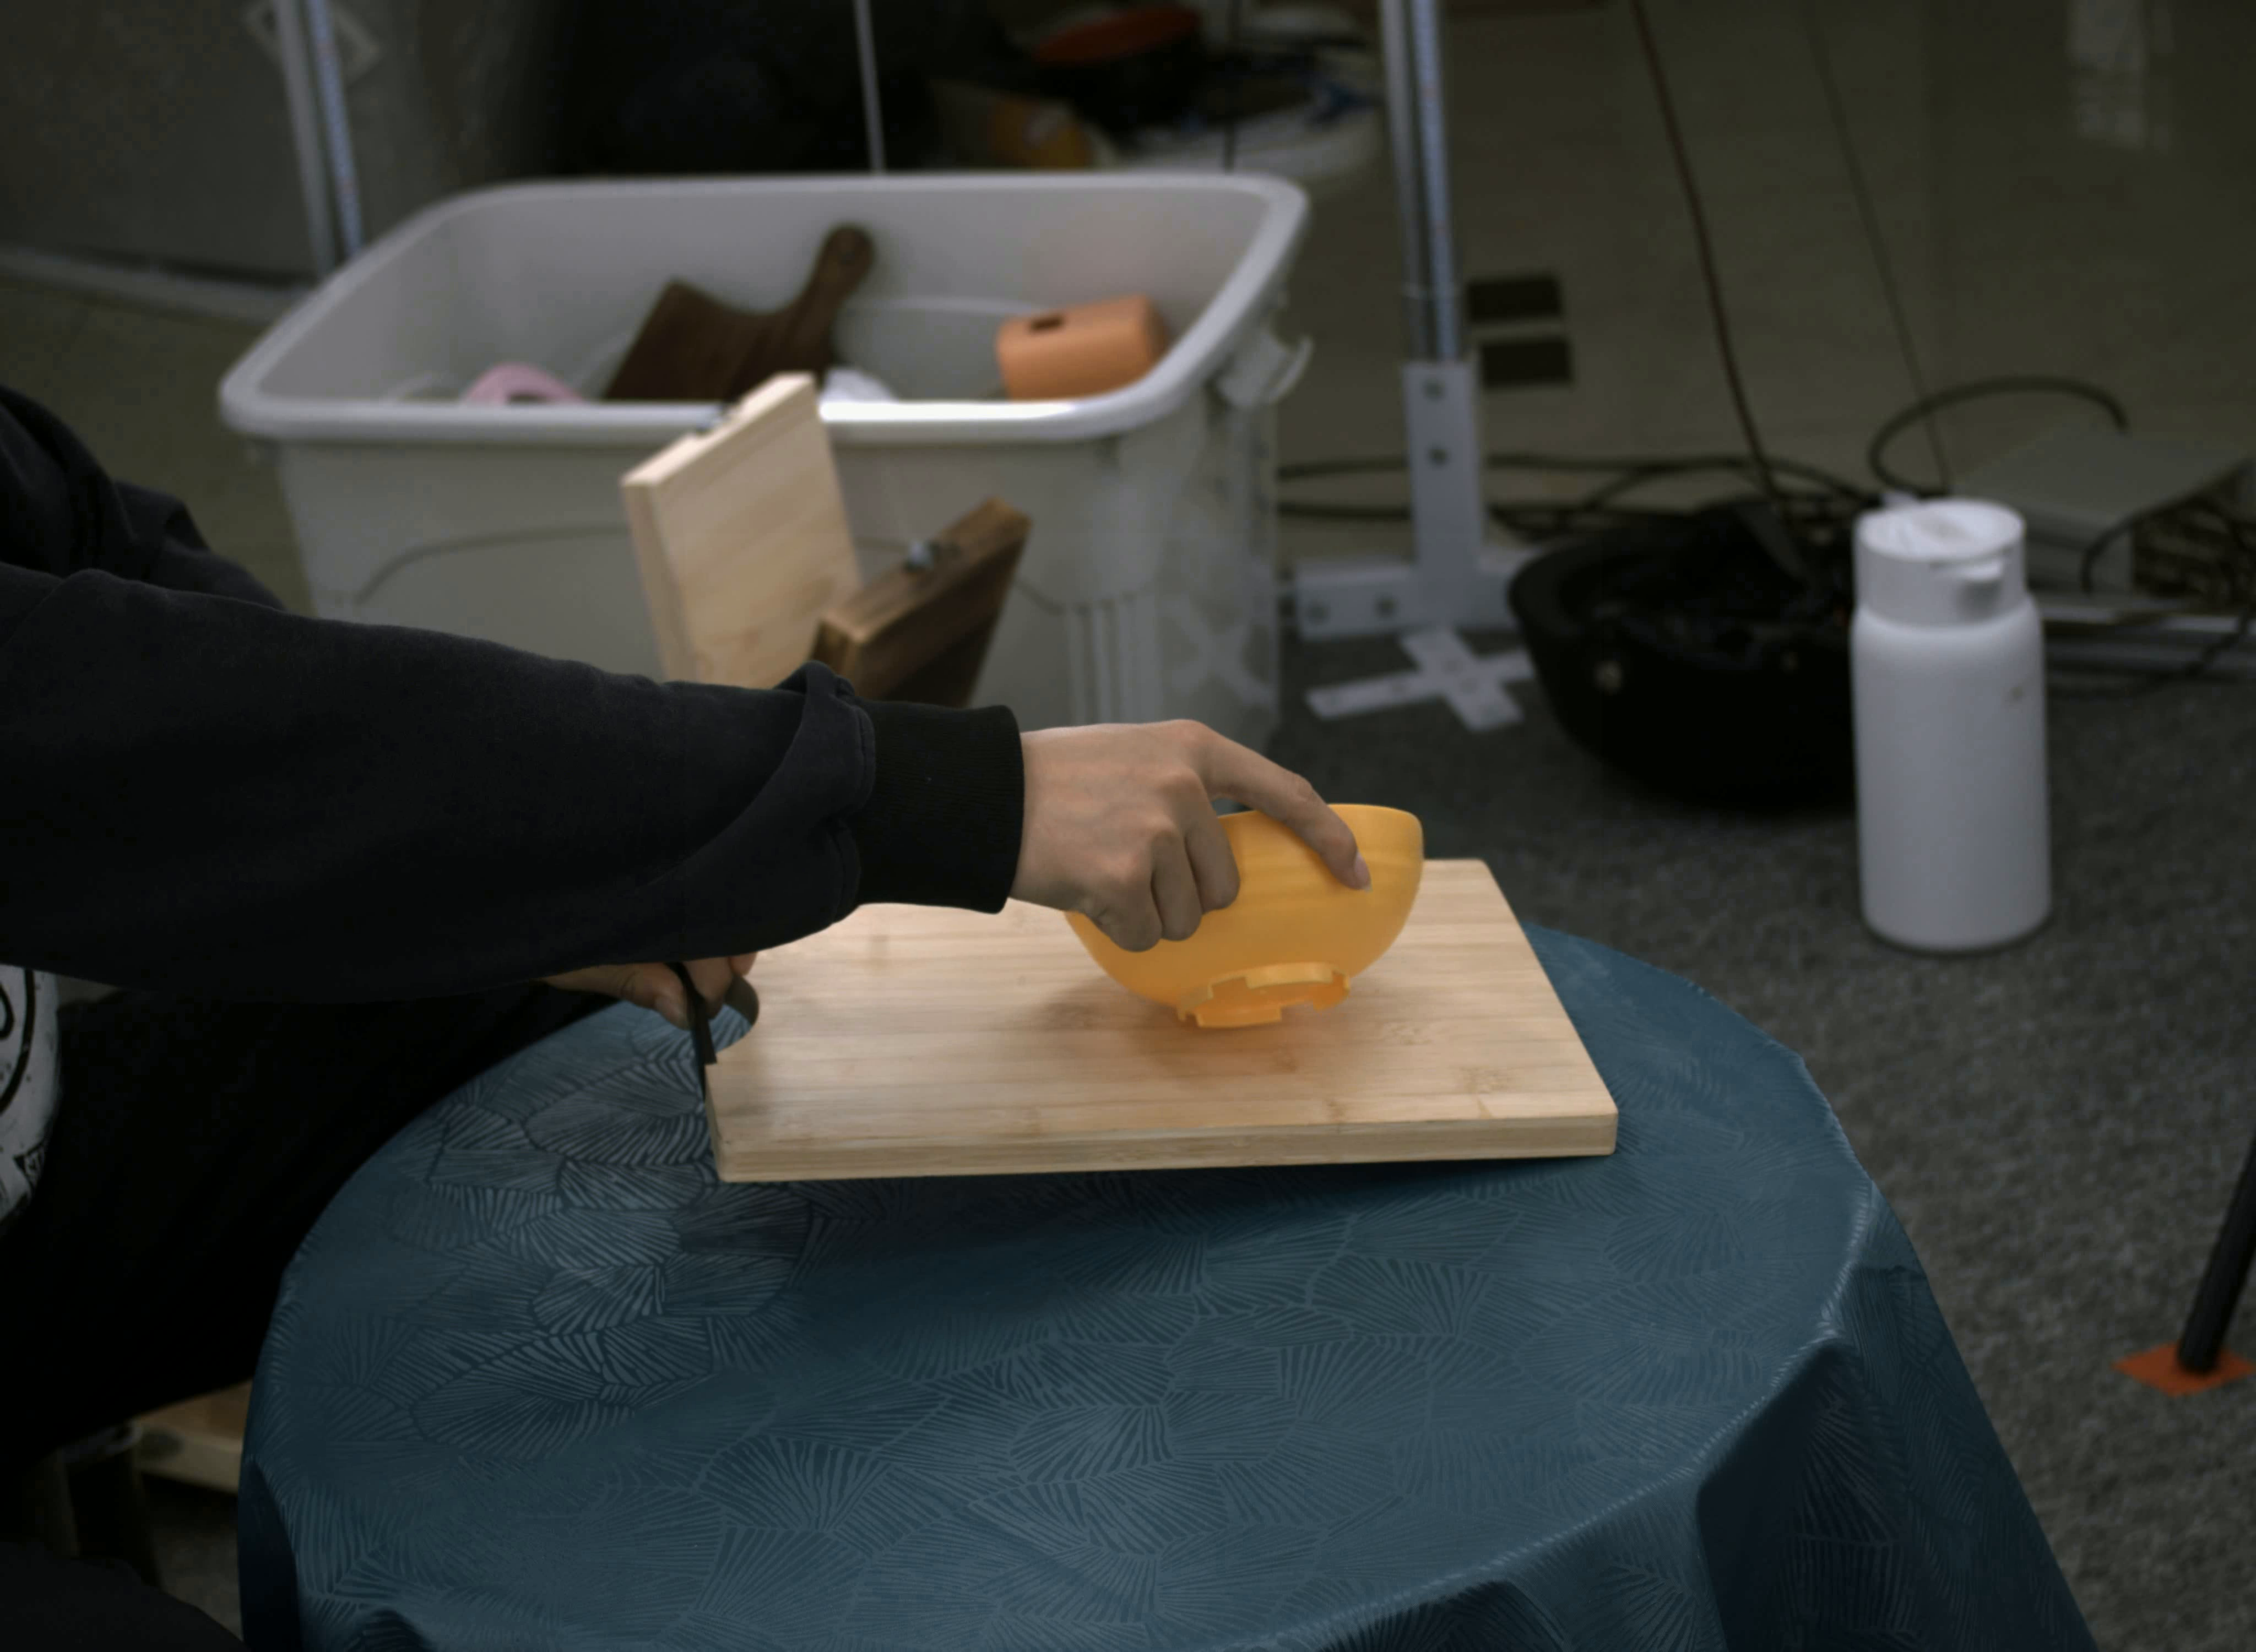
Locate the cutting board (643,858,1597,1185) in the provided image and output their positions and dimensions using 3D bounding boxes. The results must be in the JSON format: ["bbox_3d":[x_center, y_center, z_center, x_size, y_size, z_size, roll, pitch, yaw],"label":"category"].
[{"bbox_3d":[-0.007,0.074,2.215,0.348,0.024,0.247,-2,24,-10],"label":"cutting board"}]

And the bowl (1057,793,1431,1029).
[{"bbox_3d":[0.048,0.039,2.155,0.145,0.059,0.147,-7,-17,-2],"label":"bowl"}]
